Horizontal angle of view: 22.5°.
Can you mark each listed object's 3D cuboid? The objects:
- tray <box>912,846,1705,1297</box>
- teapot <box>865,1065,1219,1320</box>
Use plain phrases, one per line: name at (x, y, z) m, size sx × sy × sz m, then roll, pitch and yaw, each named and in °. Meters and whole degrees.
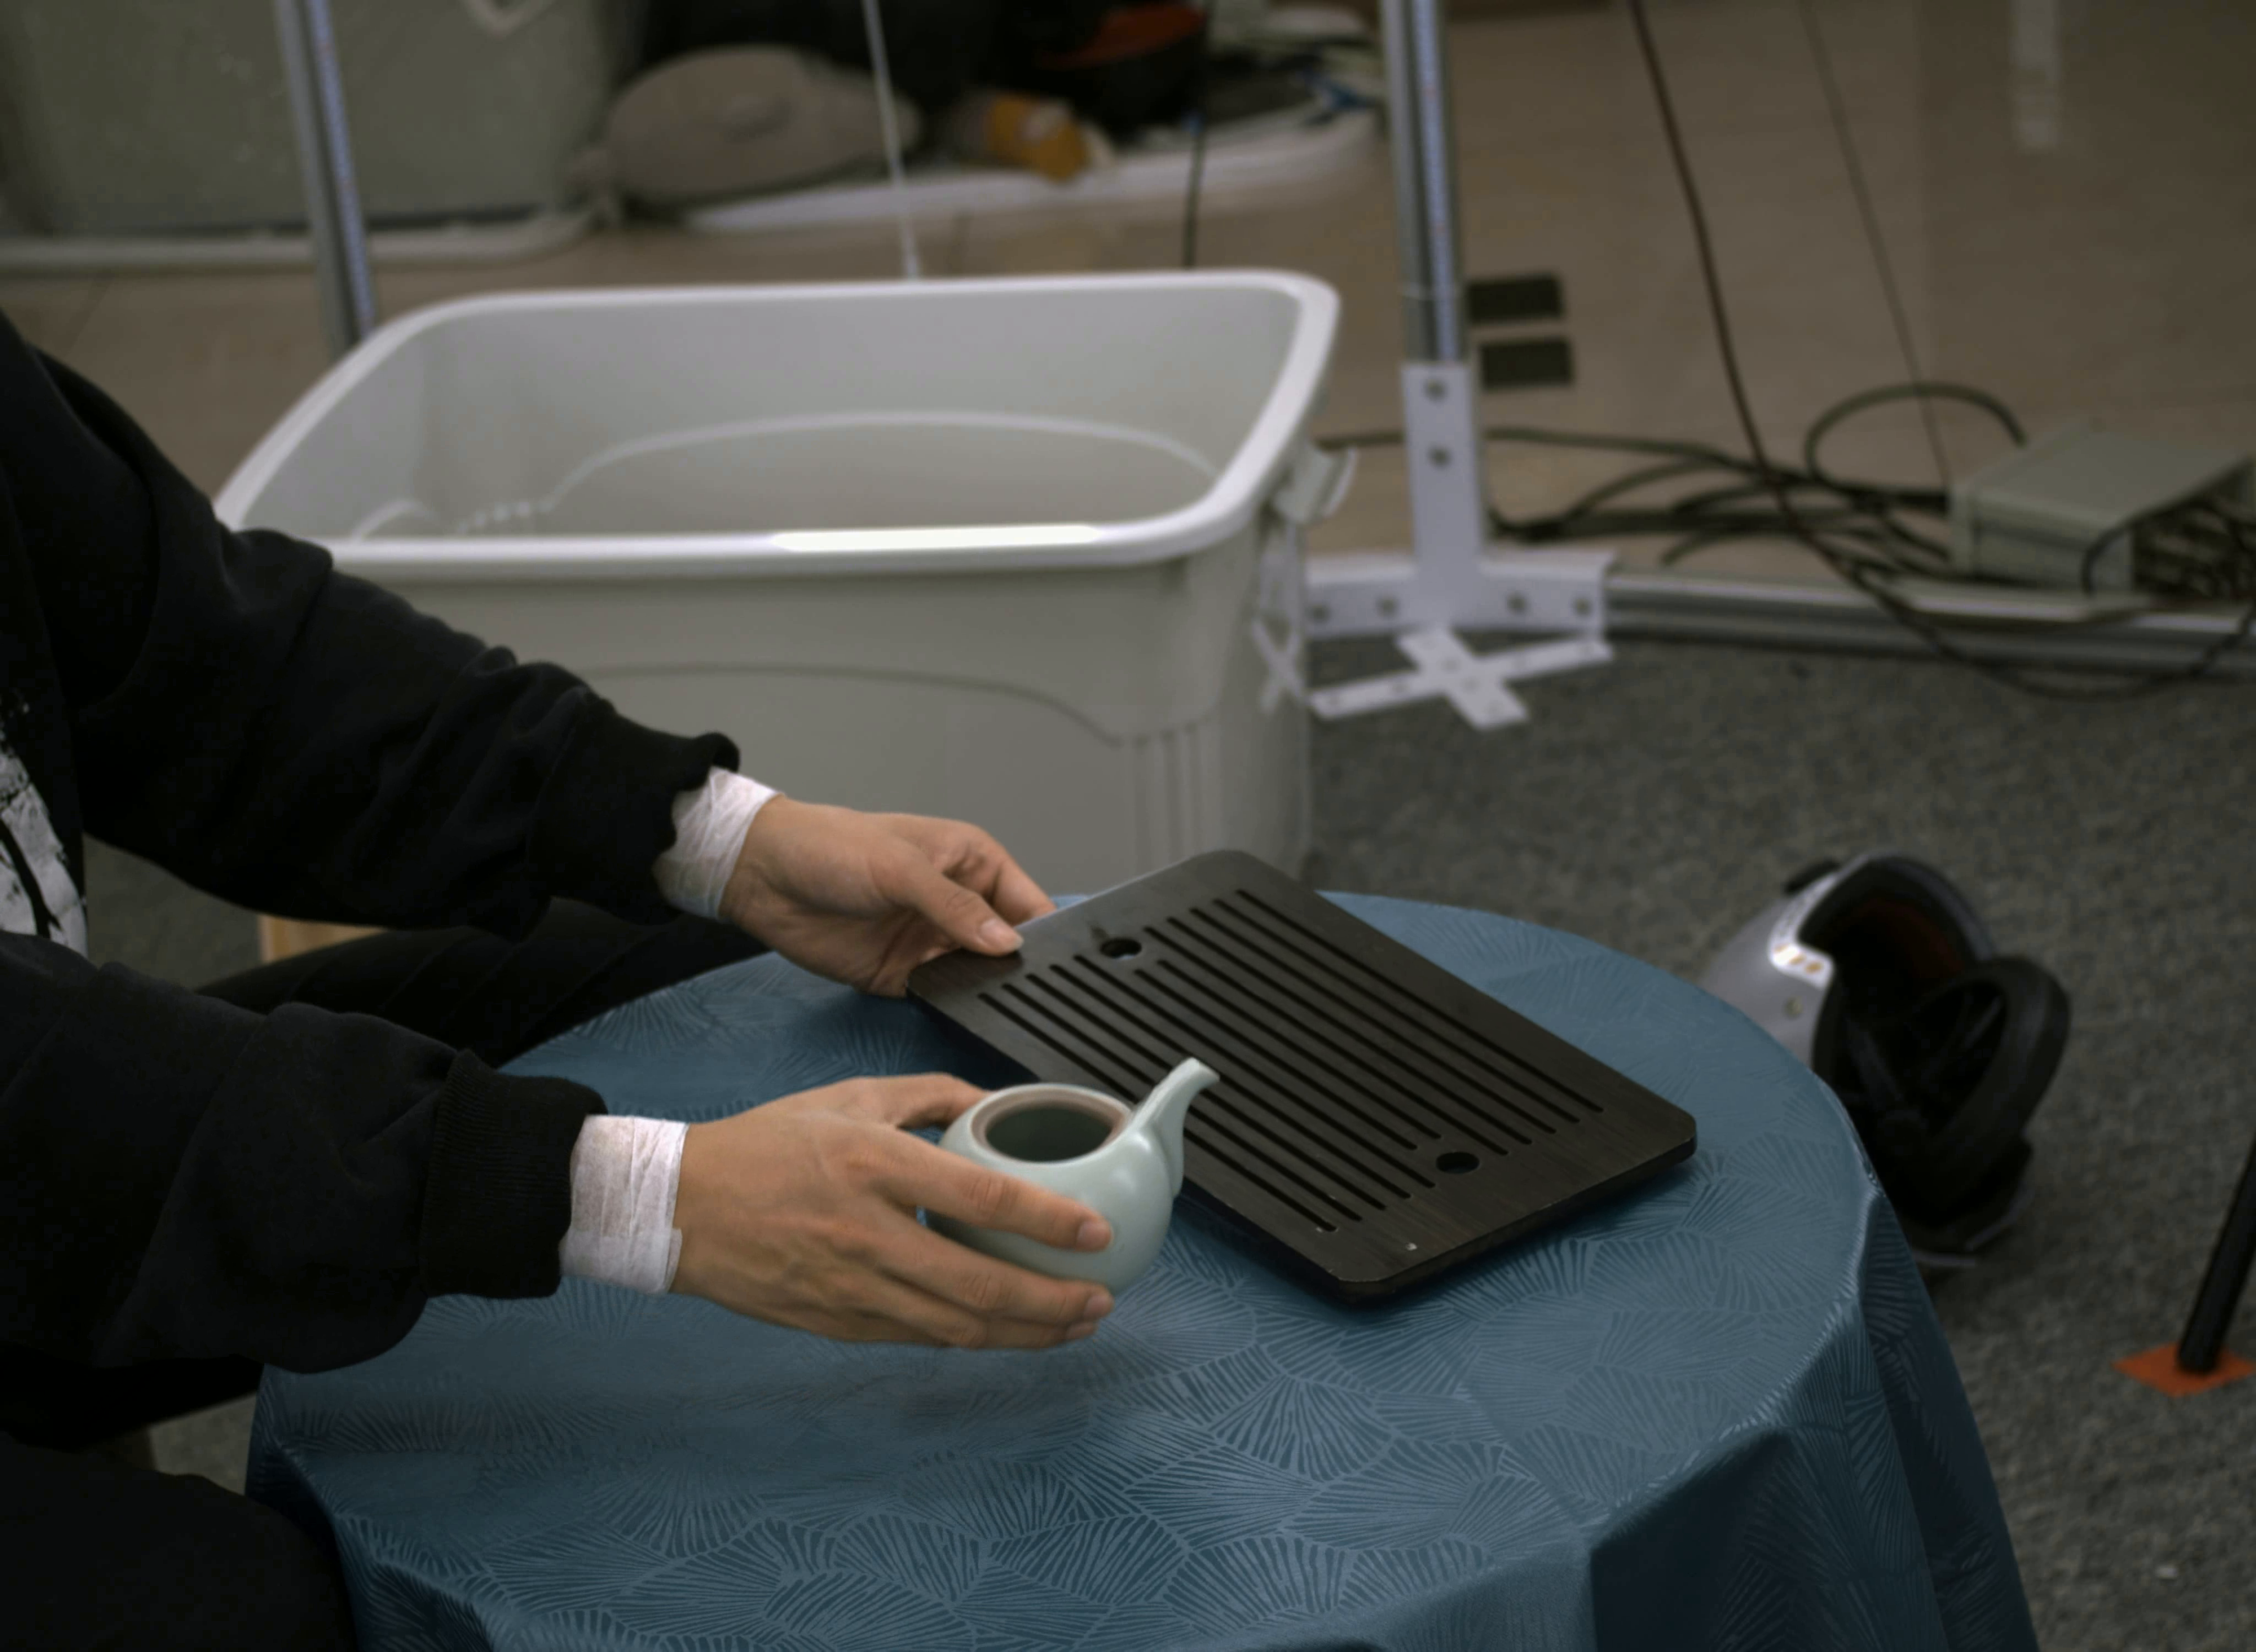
tray at (0.065, 0.092, 2.190) m, size 0.169 × 0.019 × 0.302 m, roll -22°, pitch 33°, yaw -29°
teapot at (-0.029, 0.133, 2.008) m, size 0.143 × 0.076 × 0.087 m, roll -14°, pitch 31°, yaw -27°
